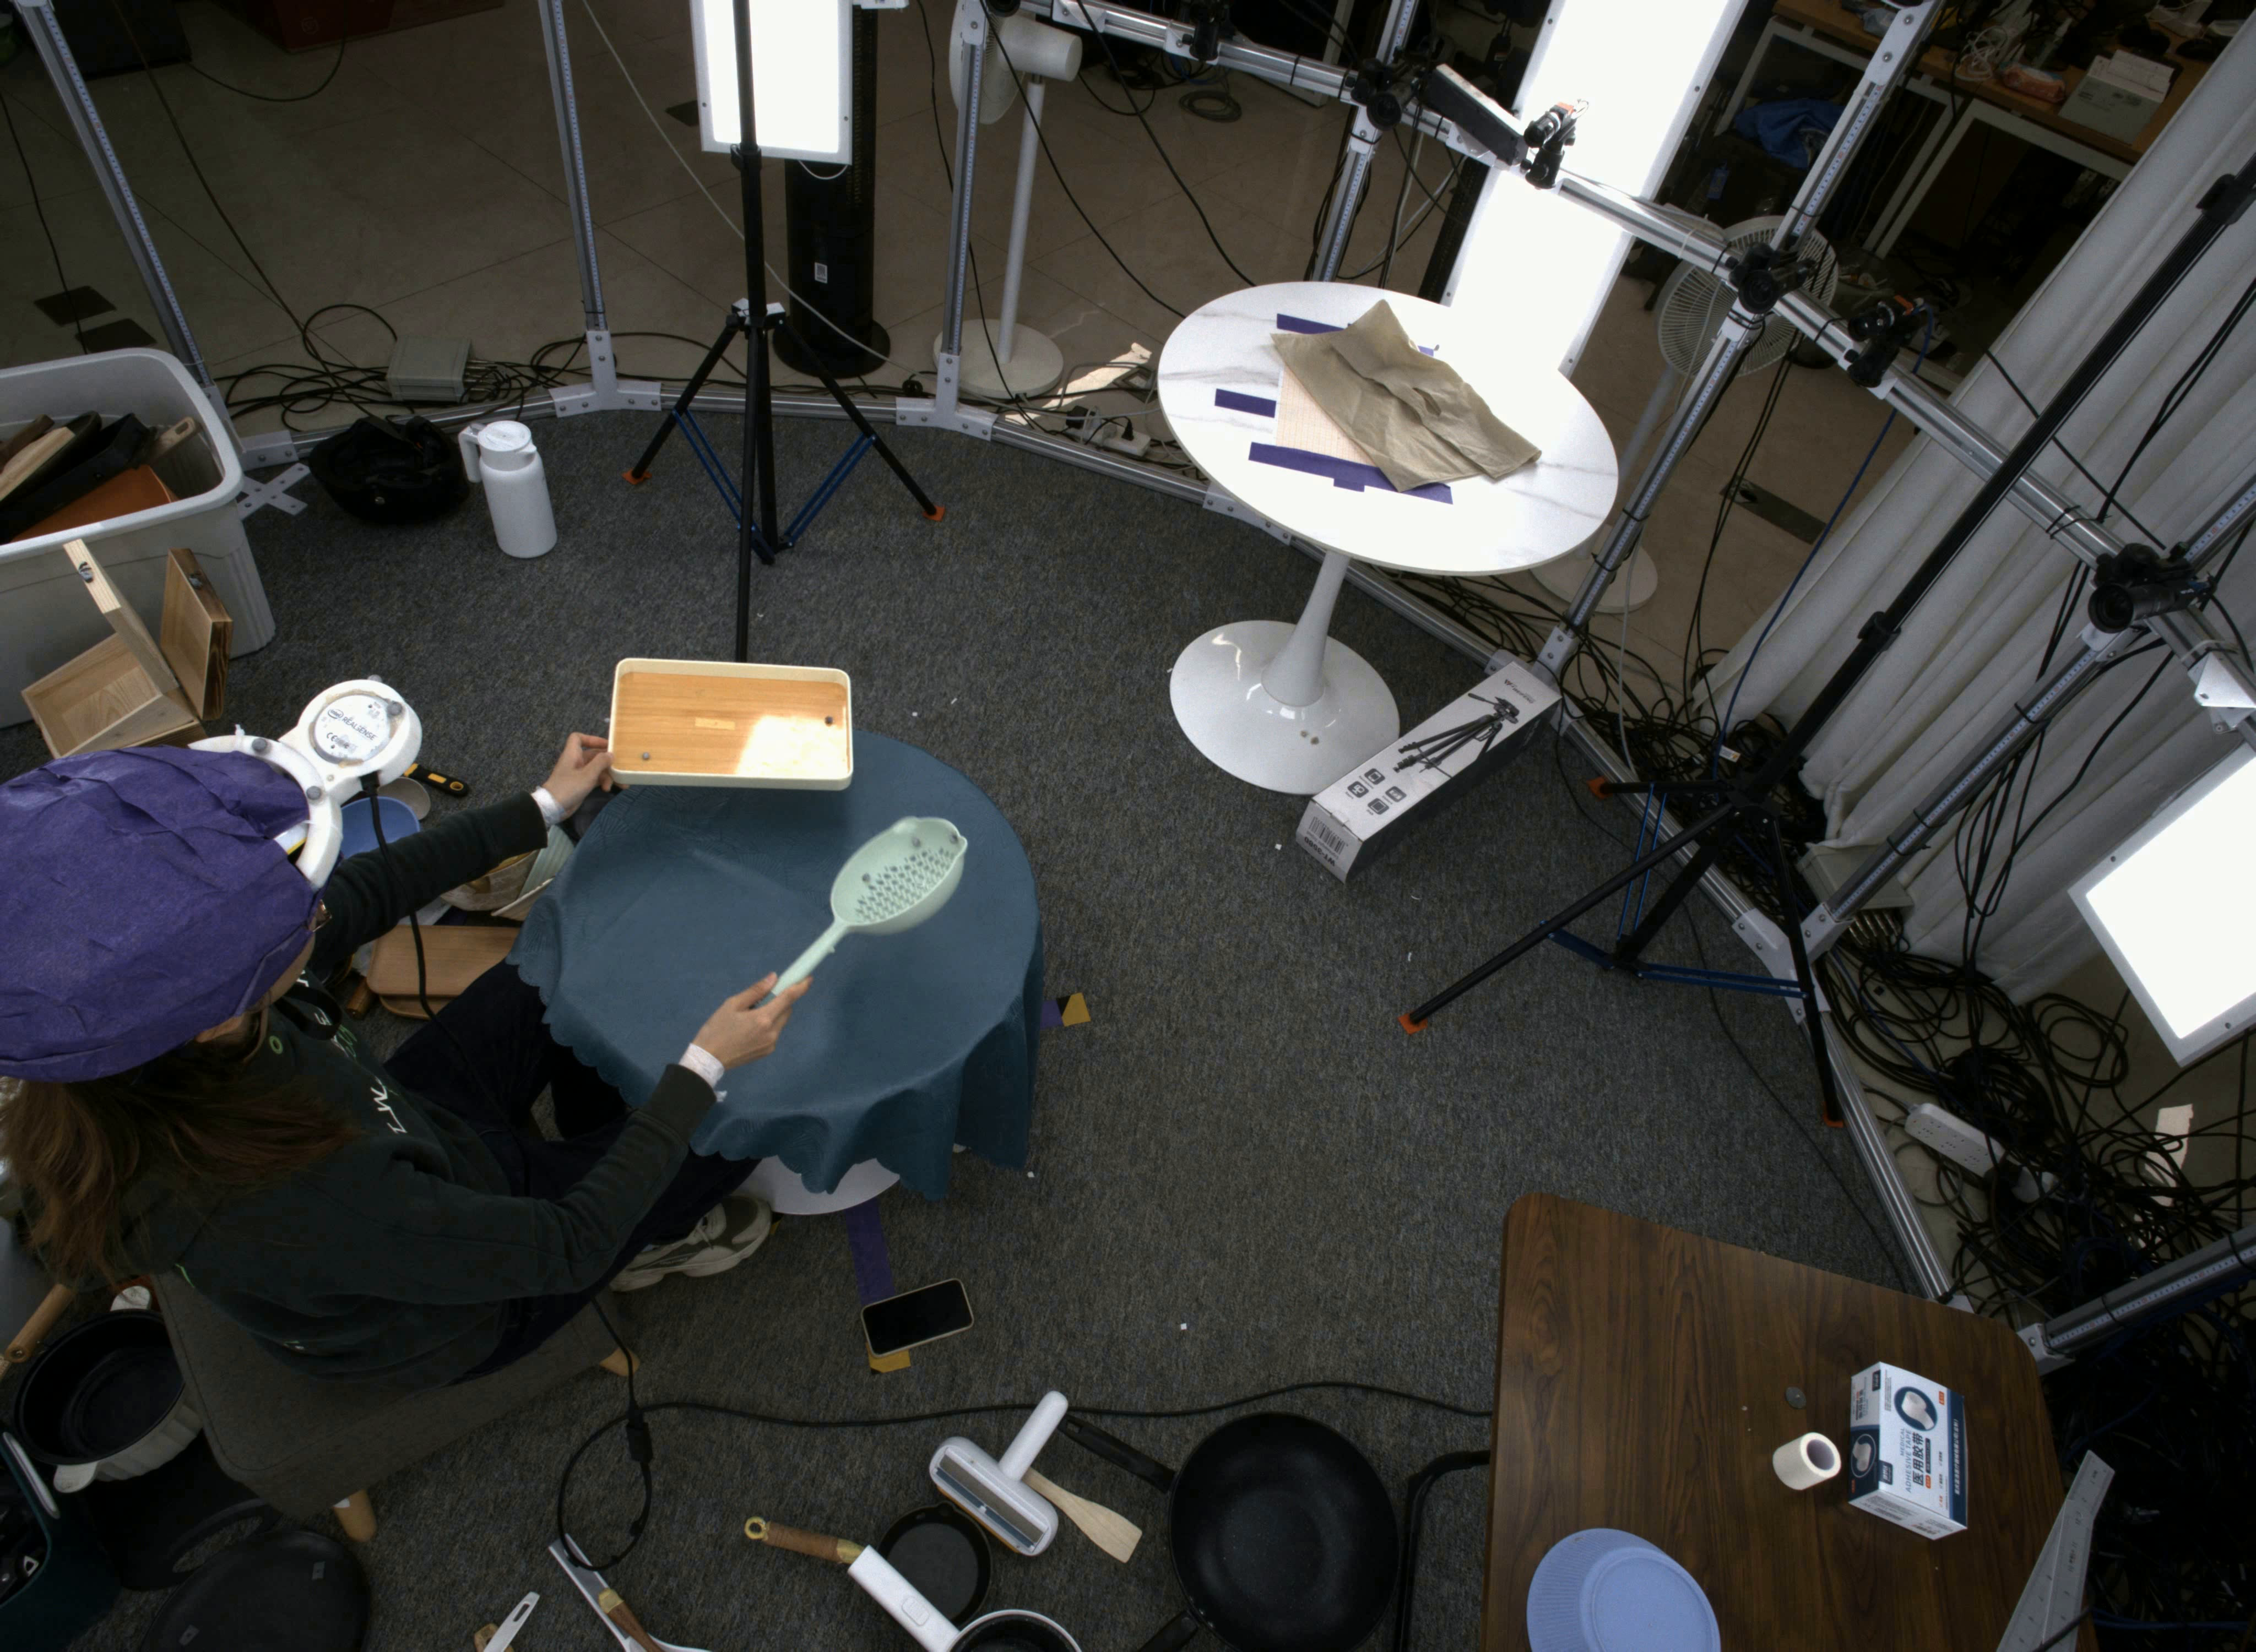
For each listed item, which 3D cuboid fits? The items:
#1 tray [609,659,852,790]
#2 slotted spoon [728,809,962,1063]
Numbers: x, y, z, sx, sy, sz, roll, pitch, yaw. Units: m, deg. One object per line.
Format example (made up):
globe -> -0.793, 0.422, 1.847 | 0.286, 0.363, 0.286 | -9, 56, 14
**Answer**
tray -> -0.509, -0.132, 1.658 | 0.302, 0.028, 0.187 | 2, 55, -18
slotted spoon -> -0.326, 0.118, 1.466 | 0.163, 0.078, 0.359 | 18, 51, 45
